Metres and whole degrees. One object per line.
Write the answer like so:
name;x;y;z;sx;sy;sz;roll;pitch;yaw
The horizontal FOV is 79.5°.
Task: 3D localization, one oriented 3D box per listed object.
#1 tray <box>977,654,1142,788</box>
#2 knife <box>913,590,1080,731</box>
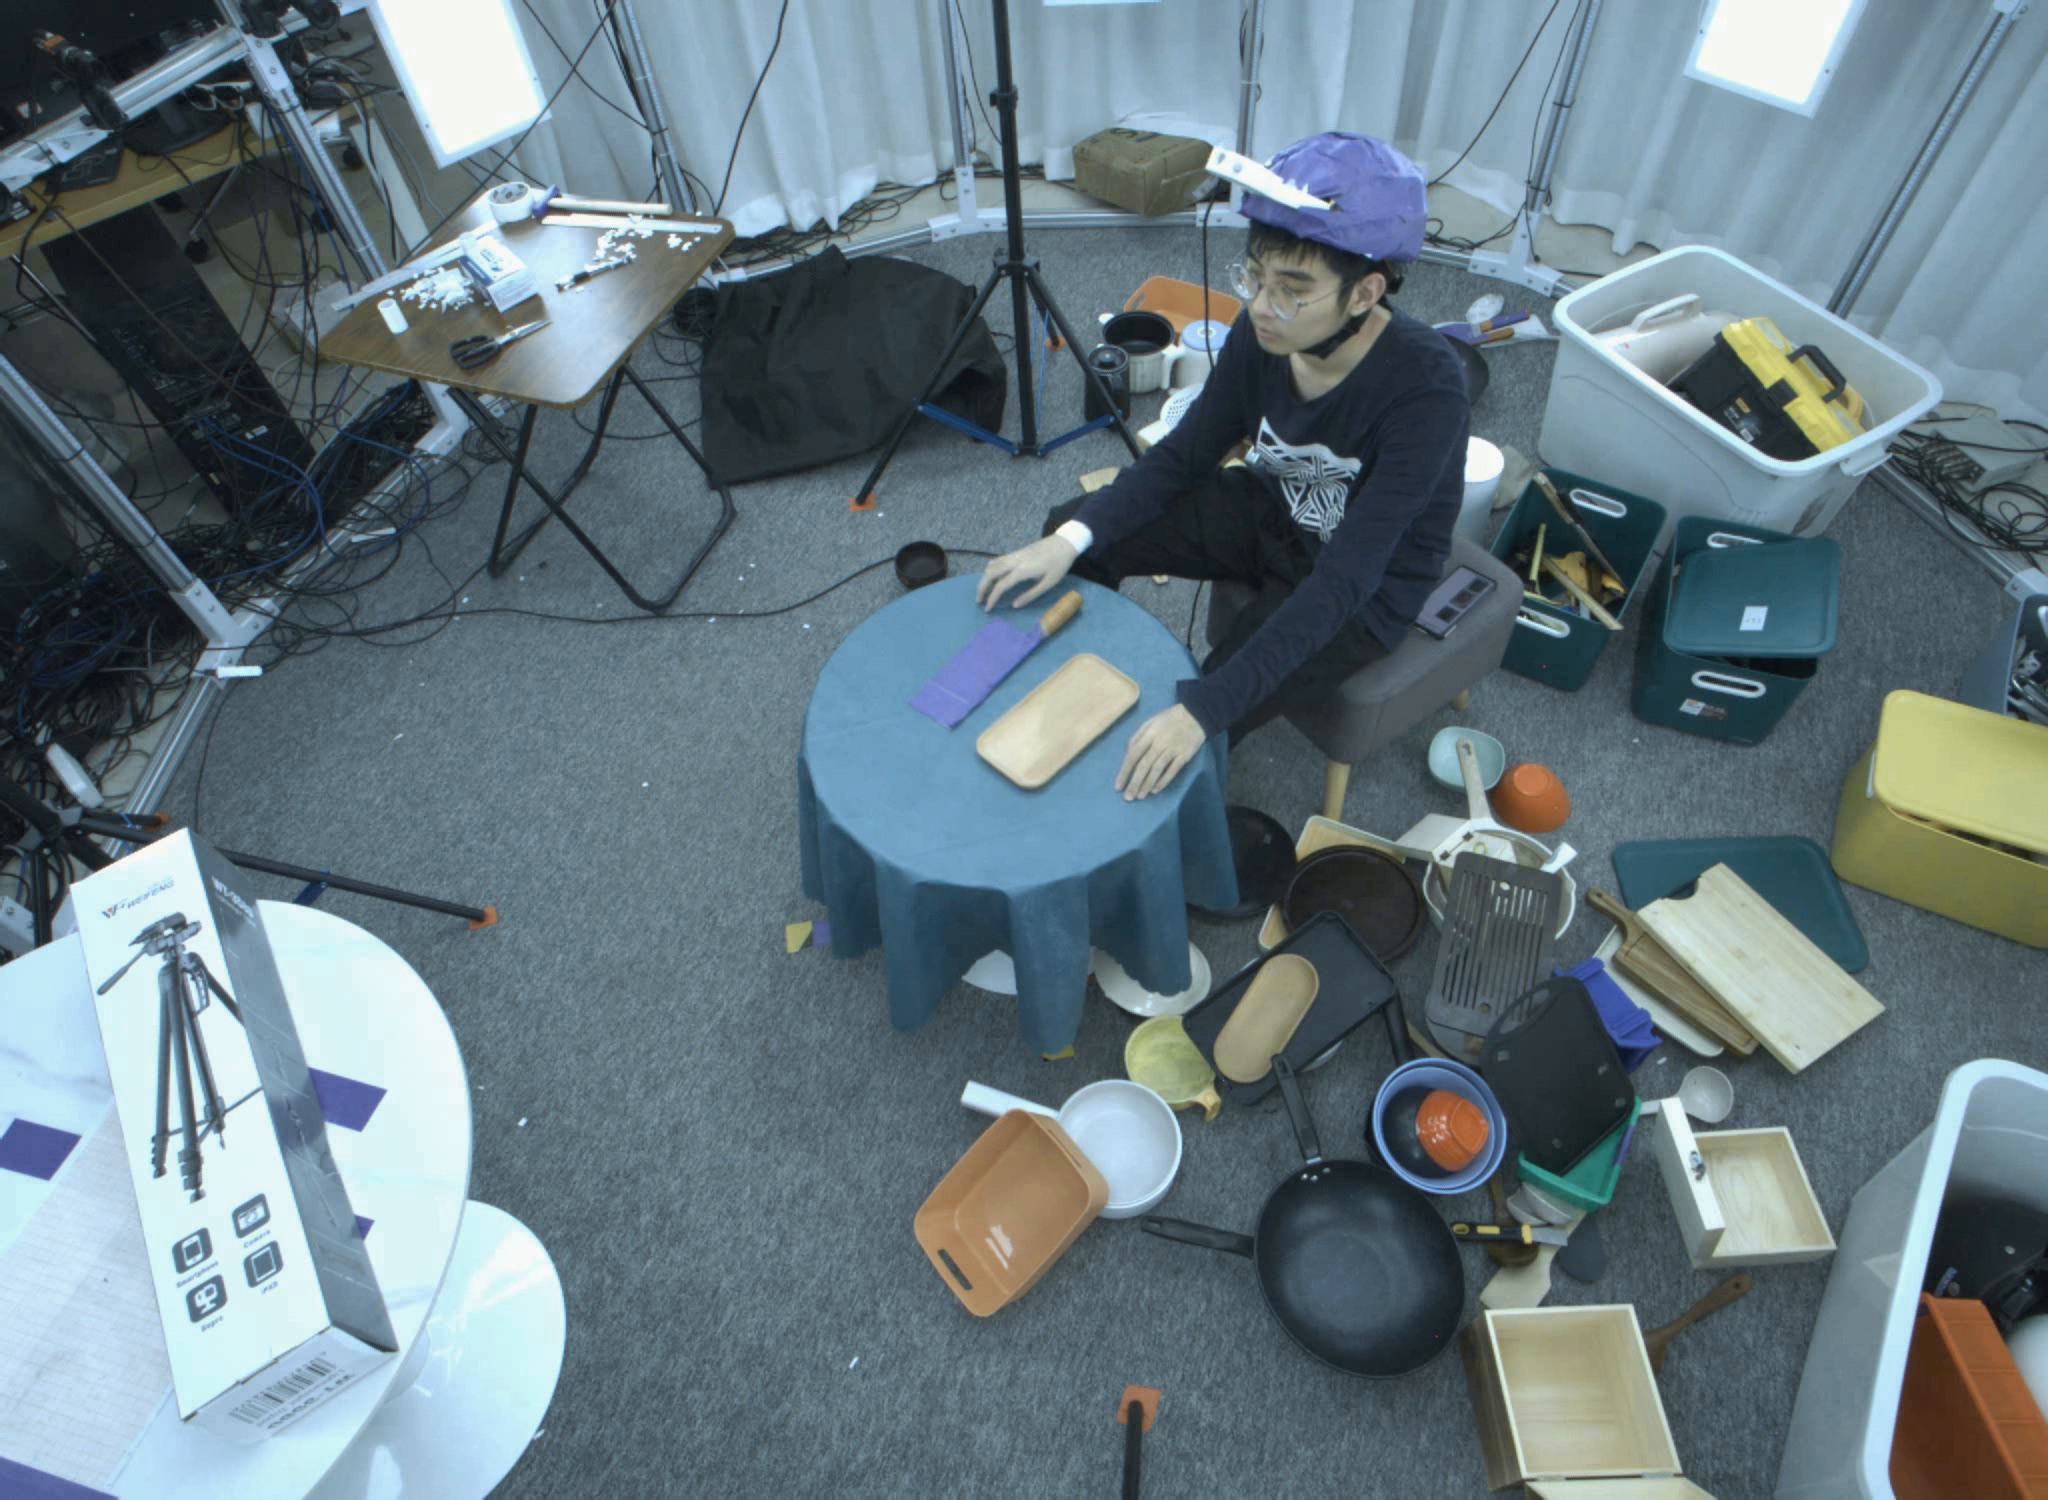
tray;0.053;-0.045;1.816;0.252;0.023;0.128;-38;64;-24
knife;-0.043;-0.155;1.891;0.102;0.032;0.317;33;62;22
